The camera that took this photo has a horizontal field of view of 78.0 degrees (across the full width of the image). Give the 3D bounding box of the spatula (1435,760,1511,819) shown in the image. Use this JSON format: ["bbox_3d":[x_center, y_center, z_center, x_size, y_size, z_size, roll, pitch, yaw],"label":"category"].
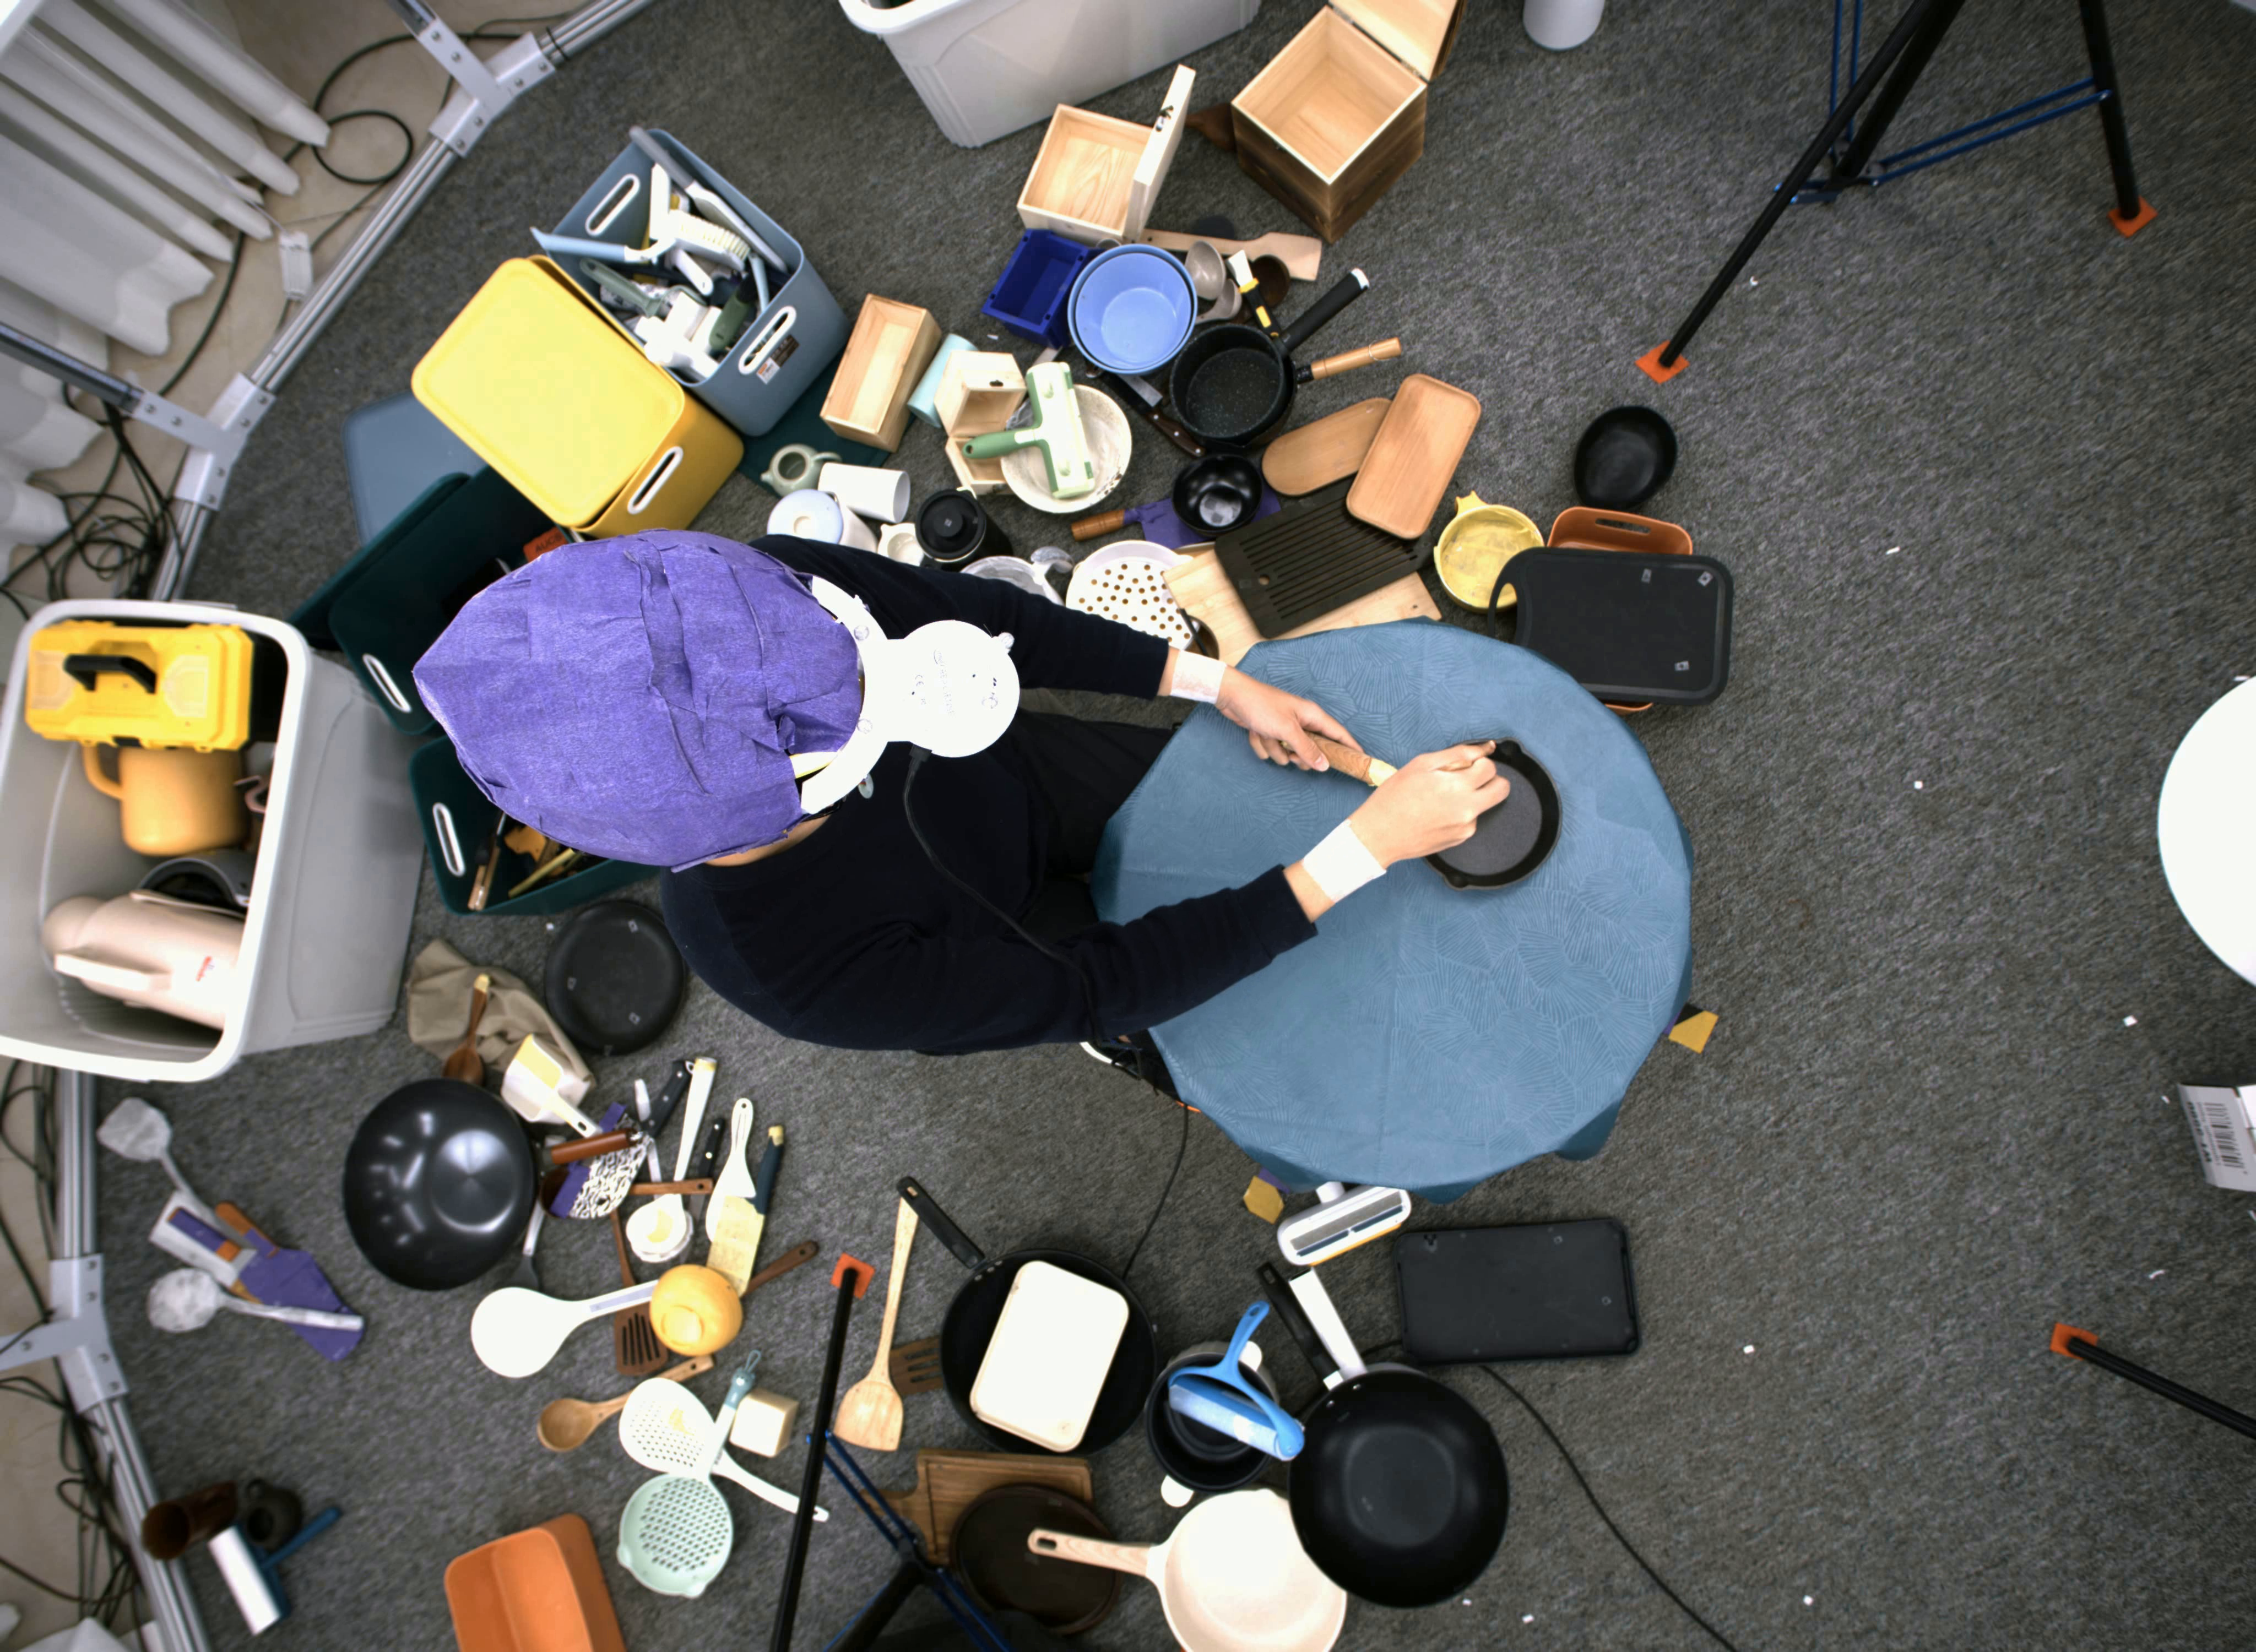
[{"bbox_3d":[0.317,-0.036,1.294,0.080,0.328,0.016,-17,78,15],"label":"spatula"}]

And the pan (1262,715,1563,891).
[{"bbox_3d":[0.292,-0.047,1.437,0.324,0.049,0.169,24,91,10],"label":"pan"}]
